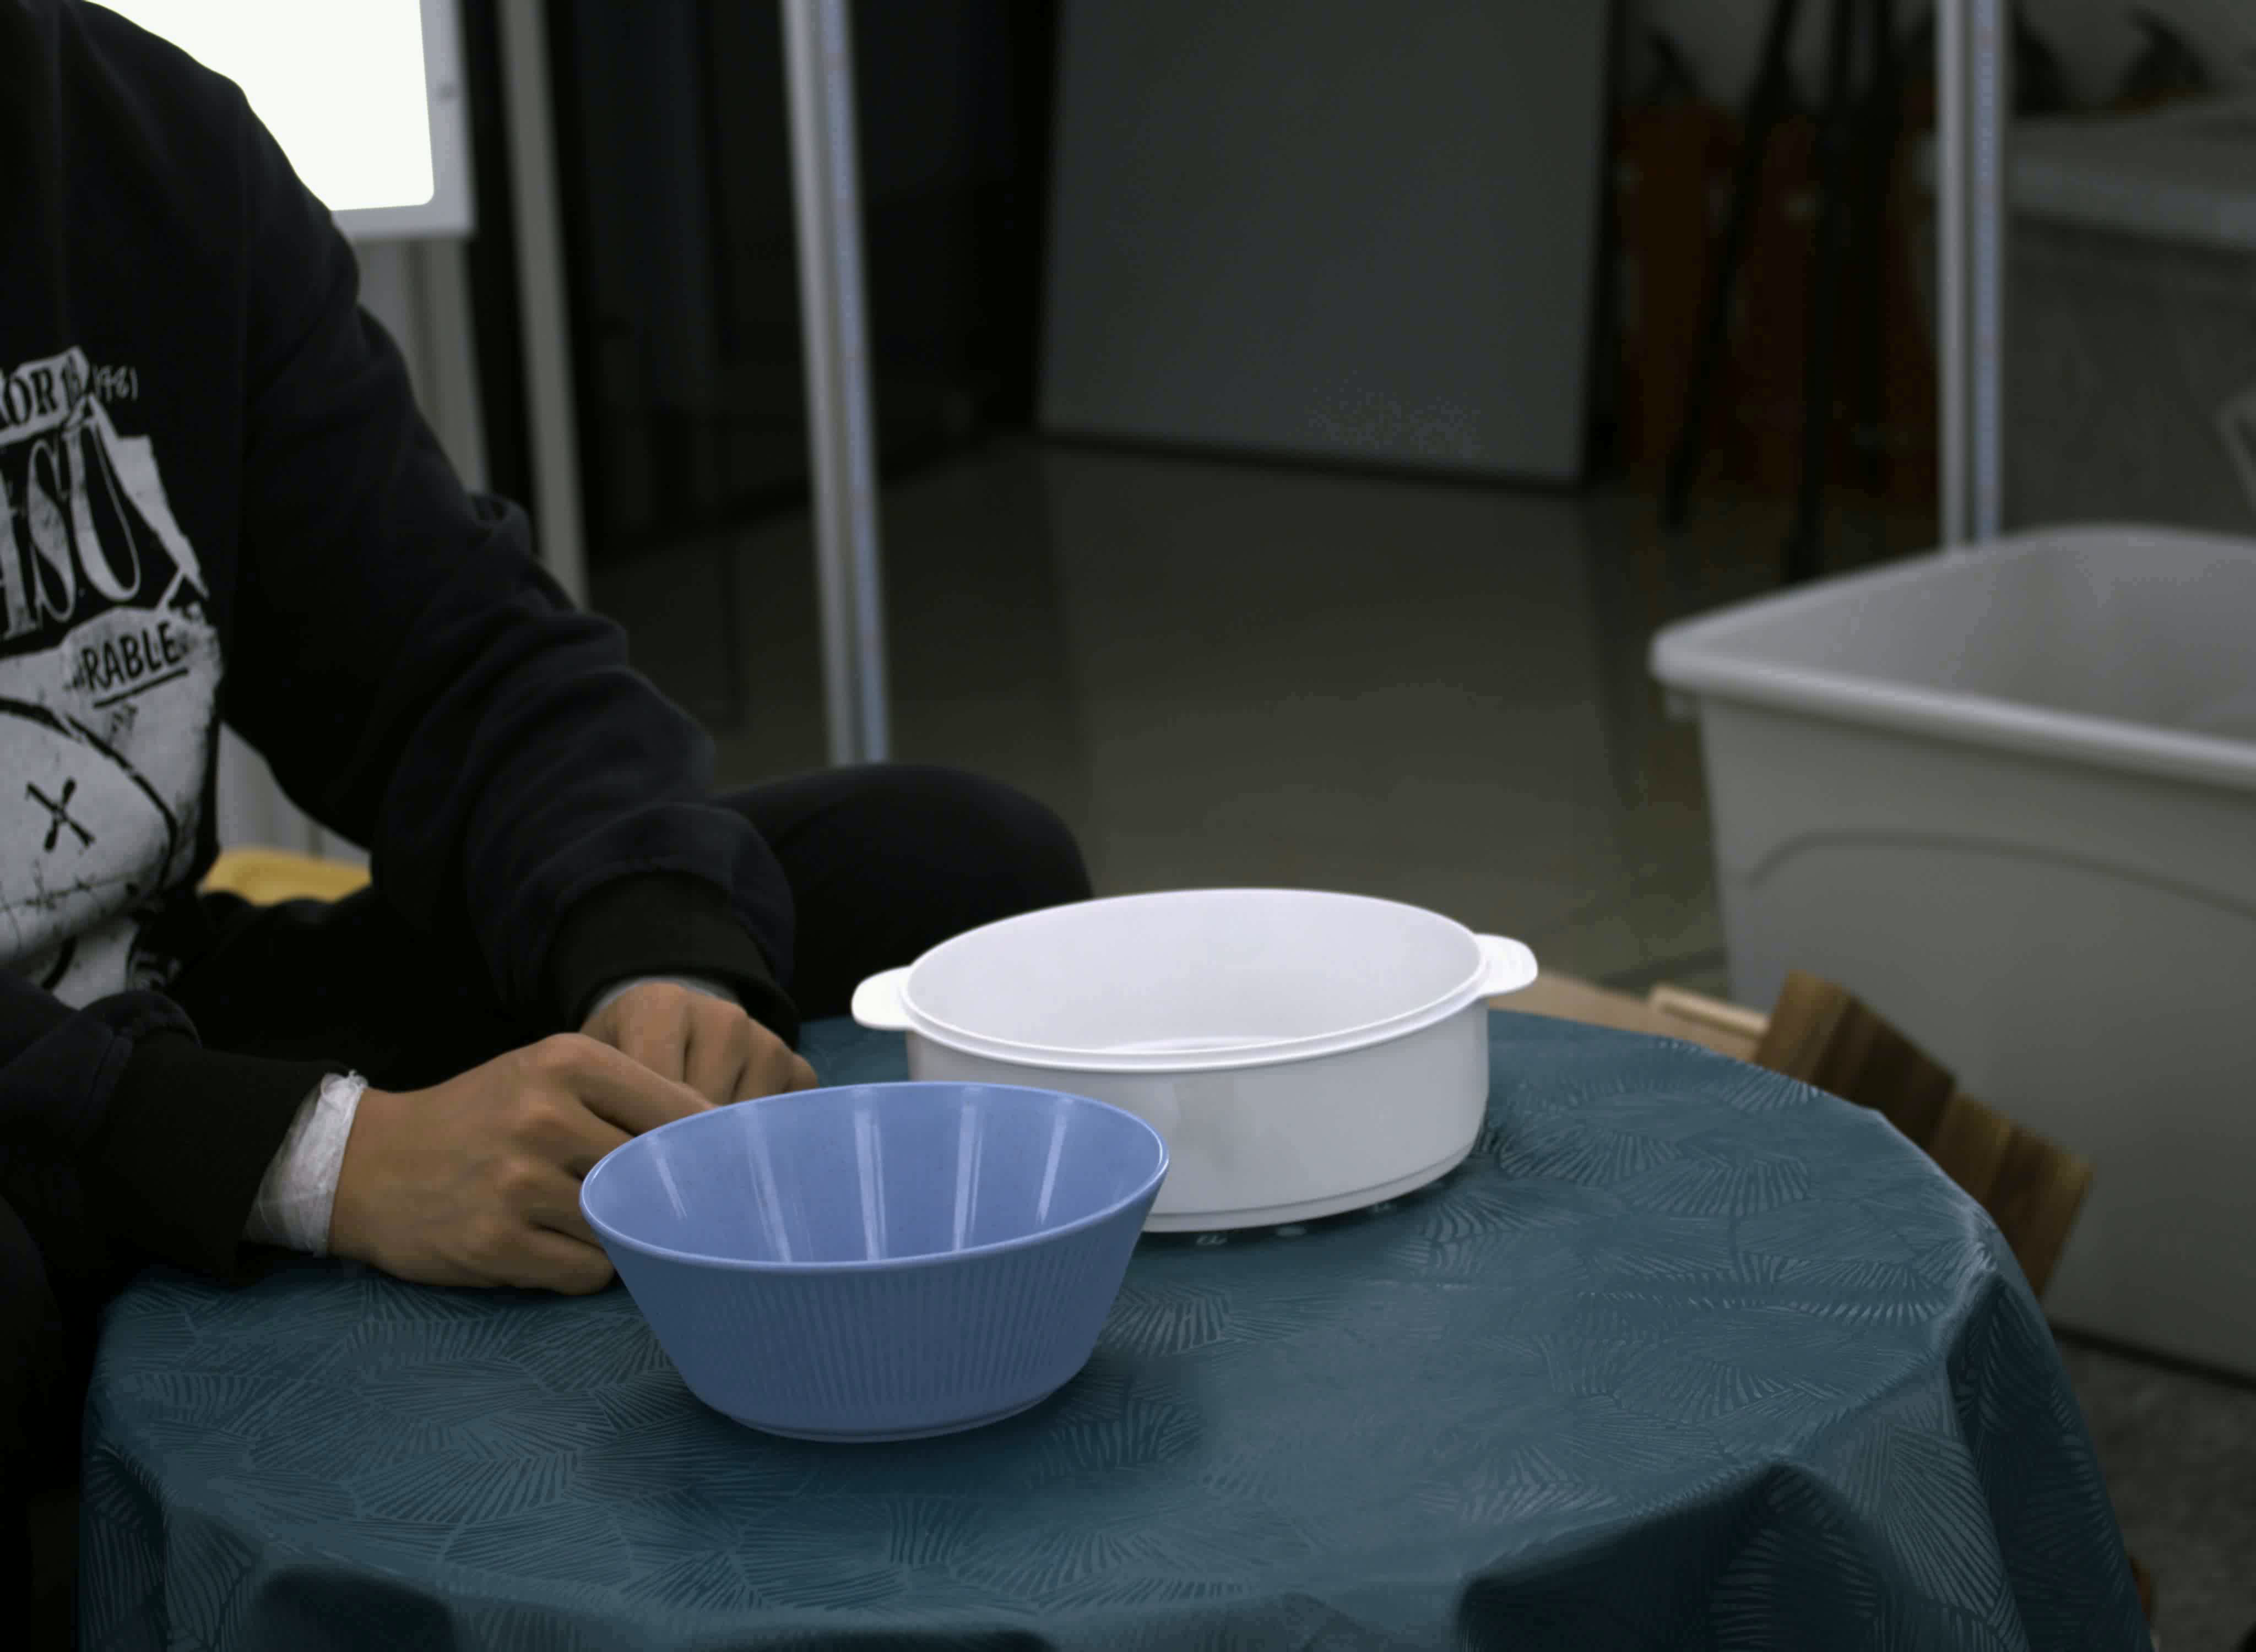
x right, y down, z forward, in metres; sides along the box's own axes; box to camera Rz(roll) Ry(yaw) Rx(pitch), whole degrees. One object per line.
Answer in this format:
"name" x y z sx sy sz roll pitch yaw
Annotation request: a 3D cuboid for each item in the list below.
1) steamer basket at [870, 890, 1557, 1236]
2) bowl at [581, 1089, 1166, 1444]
"steamer basket" 0.029 0.078 1.793 0.227 0.070 0.202 -2 14 1
"bowl" -0.073 0.133 1.598 0.174 0.071 0.176 -4 13 0
